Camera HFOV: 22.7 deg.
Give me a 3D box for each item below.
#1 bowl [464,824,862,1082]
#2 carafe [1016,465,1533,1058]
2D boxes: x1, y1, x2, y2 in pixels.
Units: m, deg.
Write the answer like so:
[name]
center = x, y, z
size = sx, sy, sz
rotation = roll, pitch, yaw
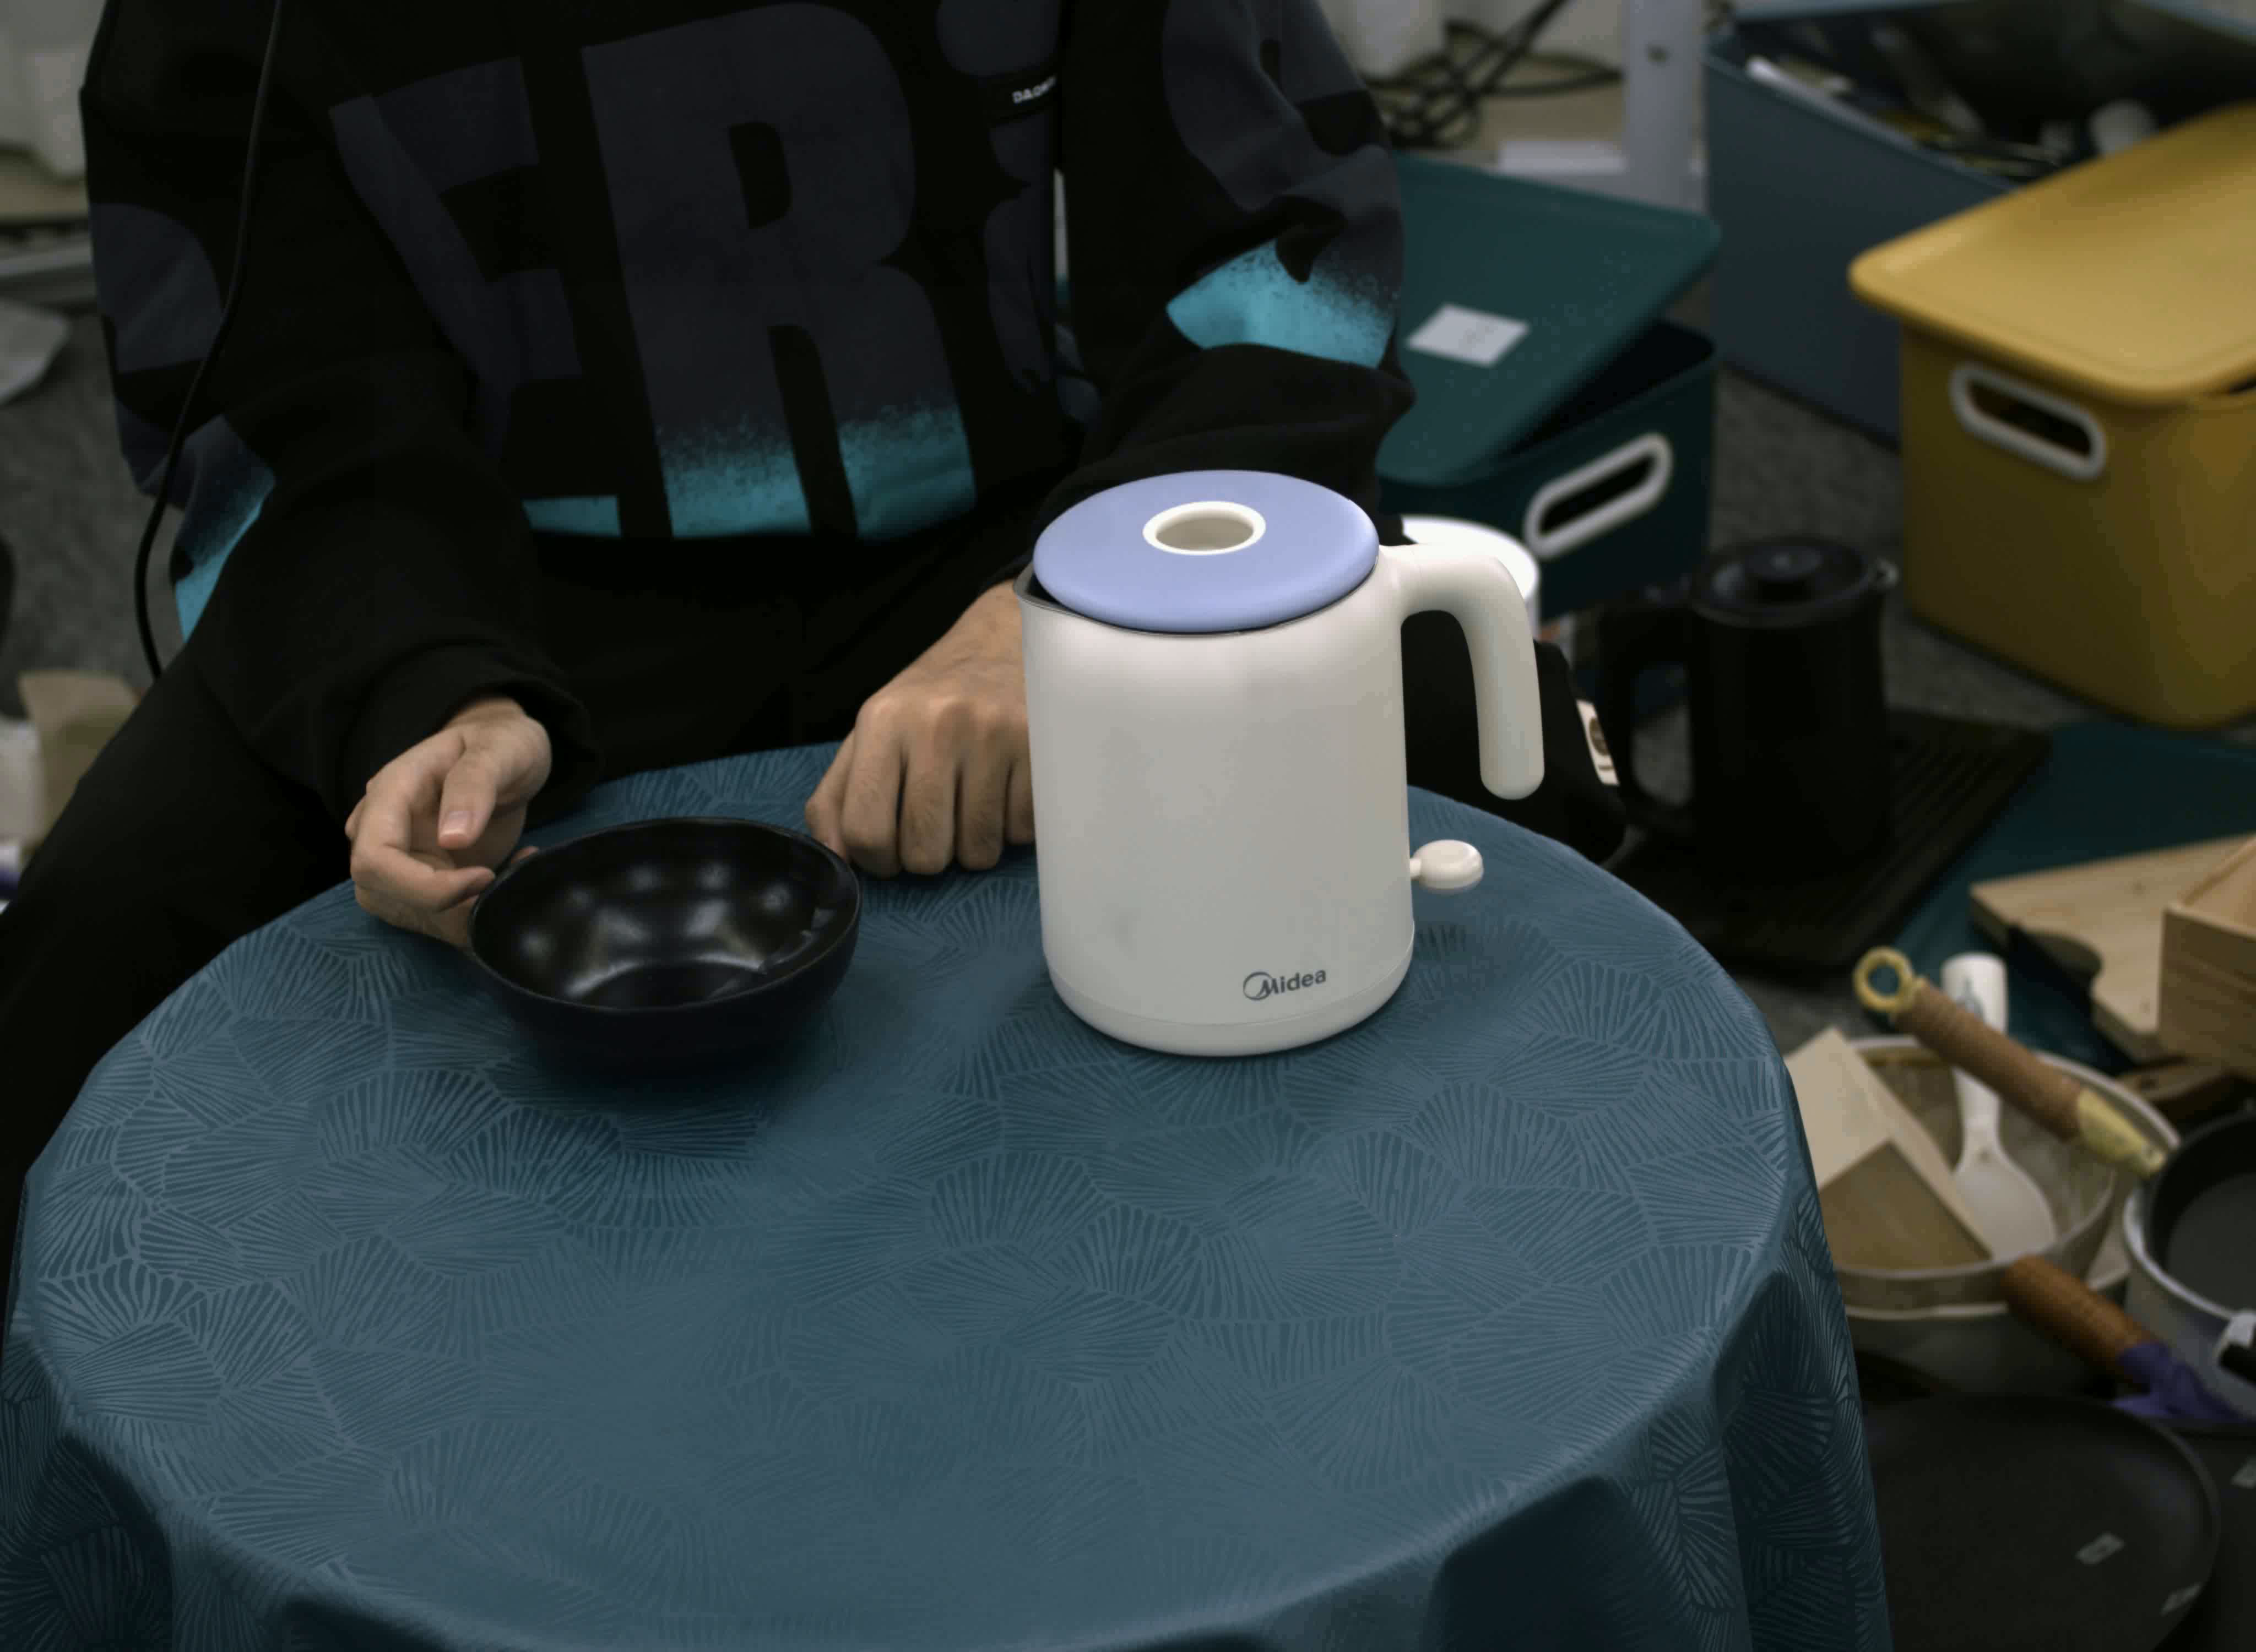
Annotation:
[bowl]
center = -0.160, 0.052, 1.958
size = 0.139, 0.049, 0.142
rotation = -3, 25, 2
[carafe]
center = 0.053, -0.027, 1.958
size = 0.191, 0.180, 0.133
rotation = -9, 28, -17
